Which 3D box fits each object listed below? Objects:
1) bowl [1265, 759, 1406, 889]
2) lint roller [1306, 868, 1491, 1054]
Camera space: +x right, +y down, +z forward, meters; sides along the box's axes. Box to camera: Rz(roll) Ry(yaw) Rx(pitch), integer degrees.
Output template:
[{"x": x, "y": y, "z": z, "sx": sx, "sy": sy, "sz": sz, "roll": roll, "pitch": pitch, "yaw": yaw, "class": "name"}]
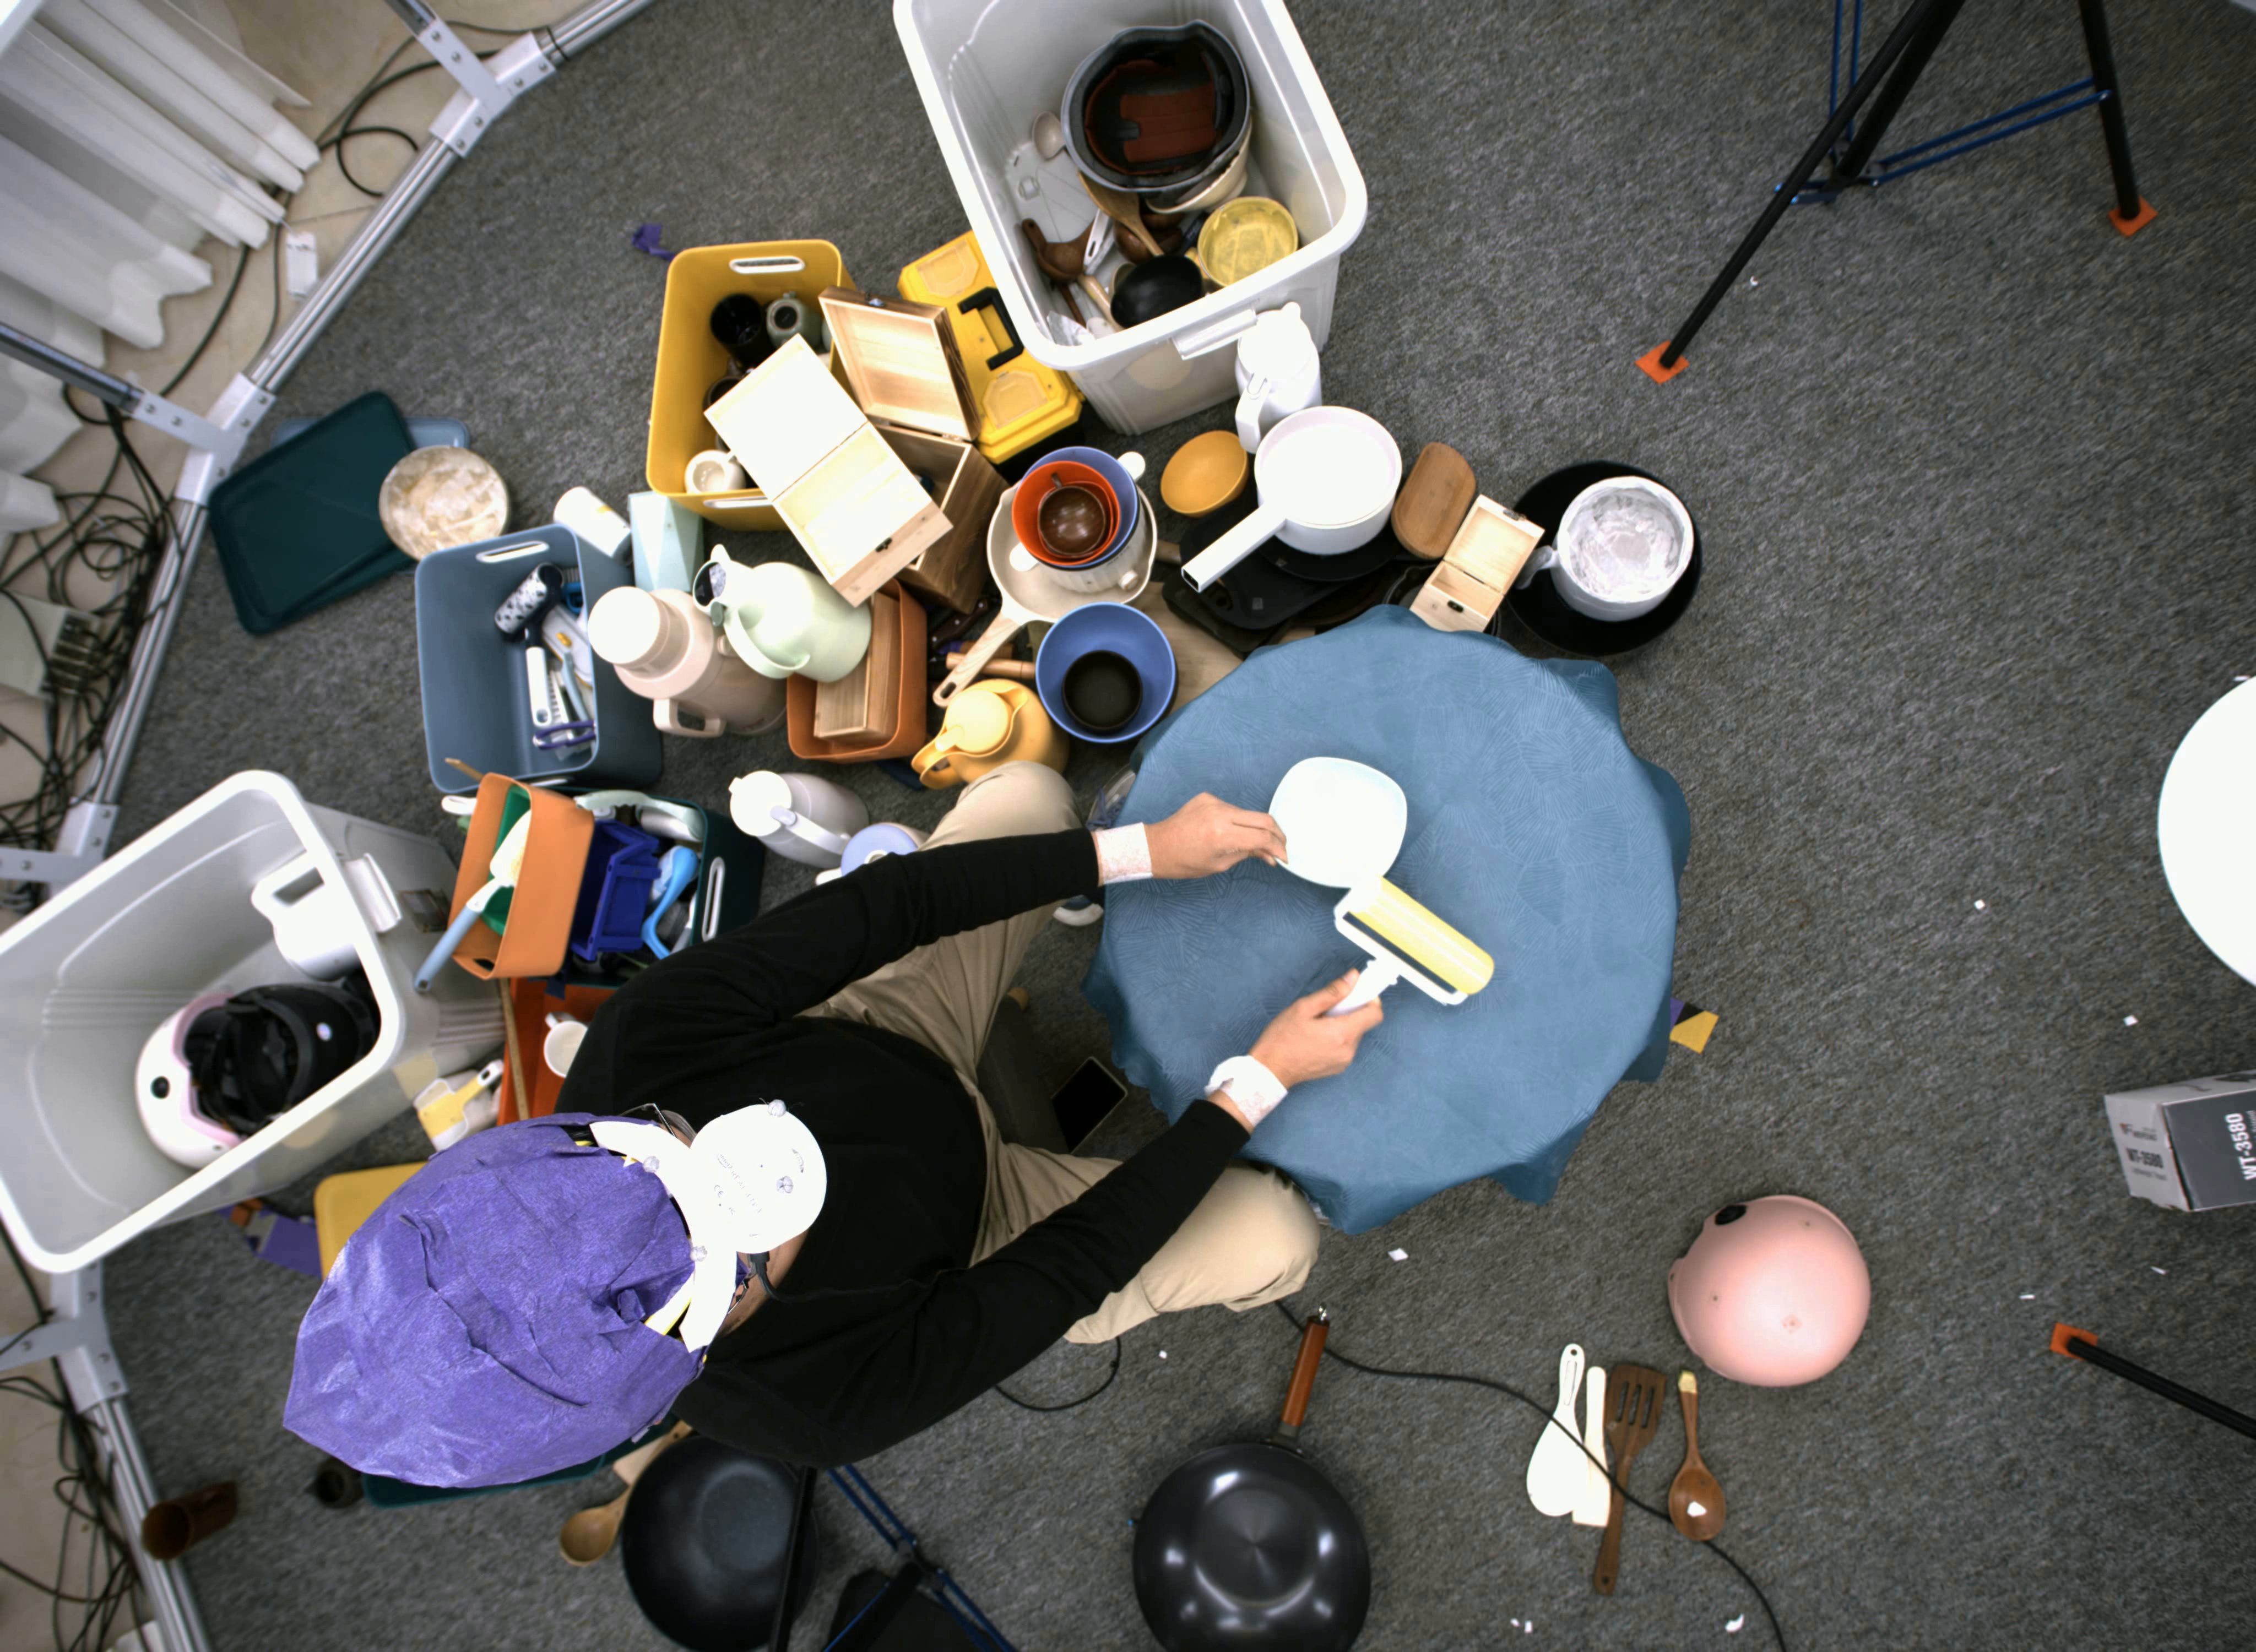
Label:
[{"x": 0.215, "y": 0.005, "z": 1.435, "sx": 0.152, "sy": 0.059, "sz": 0.148, "roll": -2, "pitch": 68, "yaw": 5, "class": "bowl"}, {"x": 0.246, "y": 0.158, "z": 1.388, "sx": 0.175, "sy": 0.050, "sz": 0.194, "roll": 31, "pitch": 101, "yaw": -19, "class": "lint roller"}]
